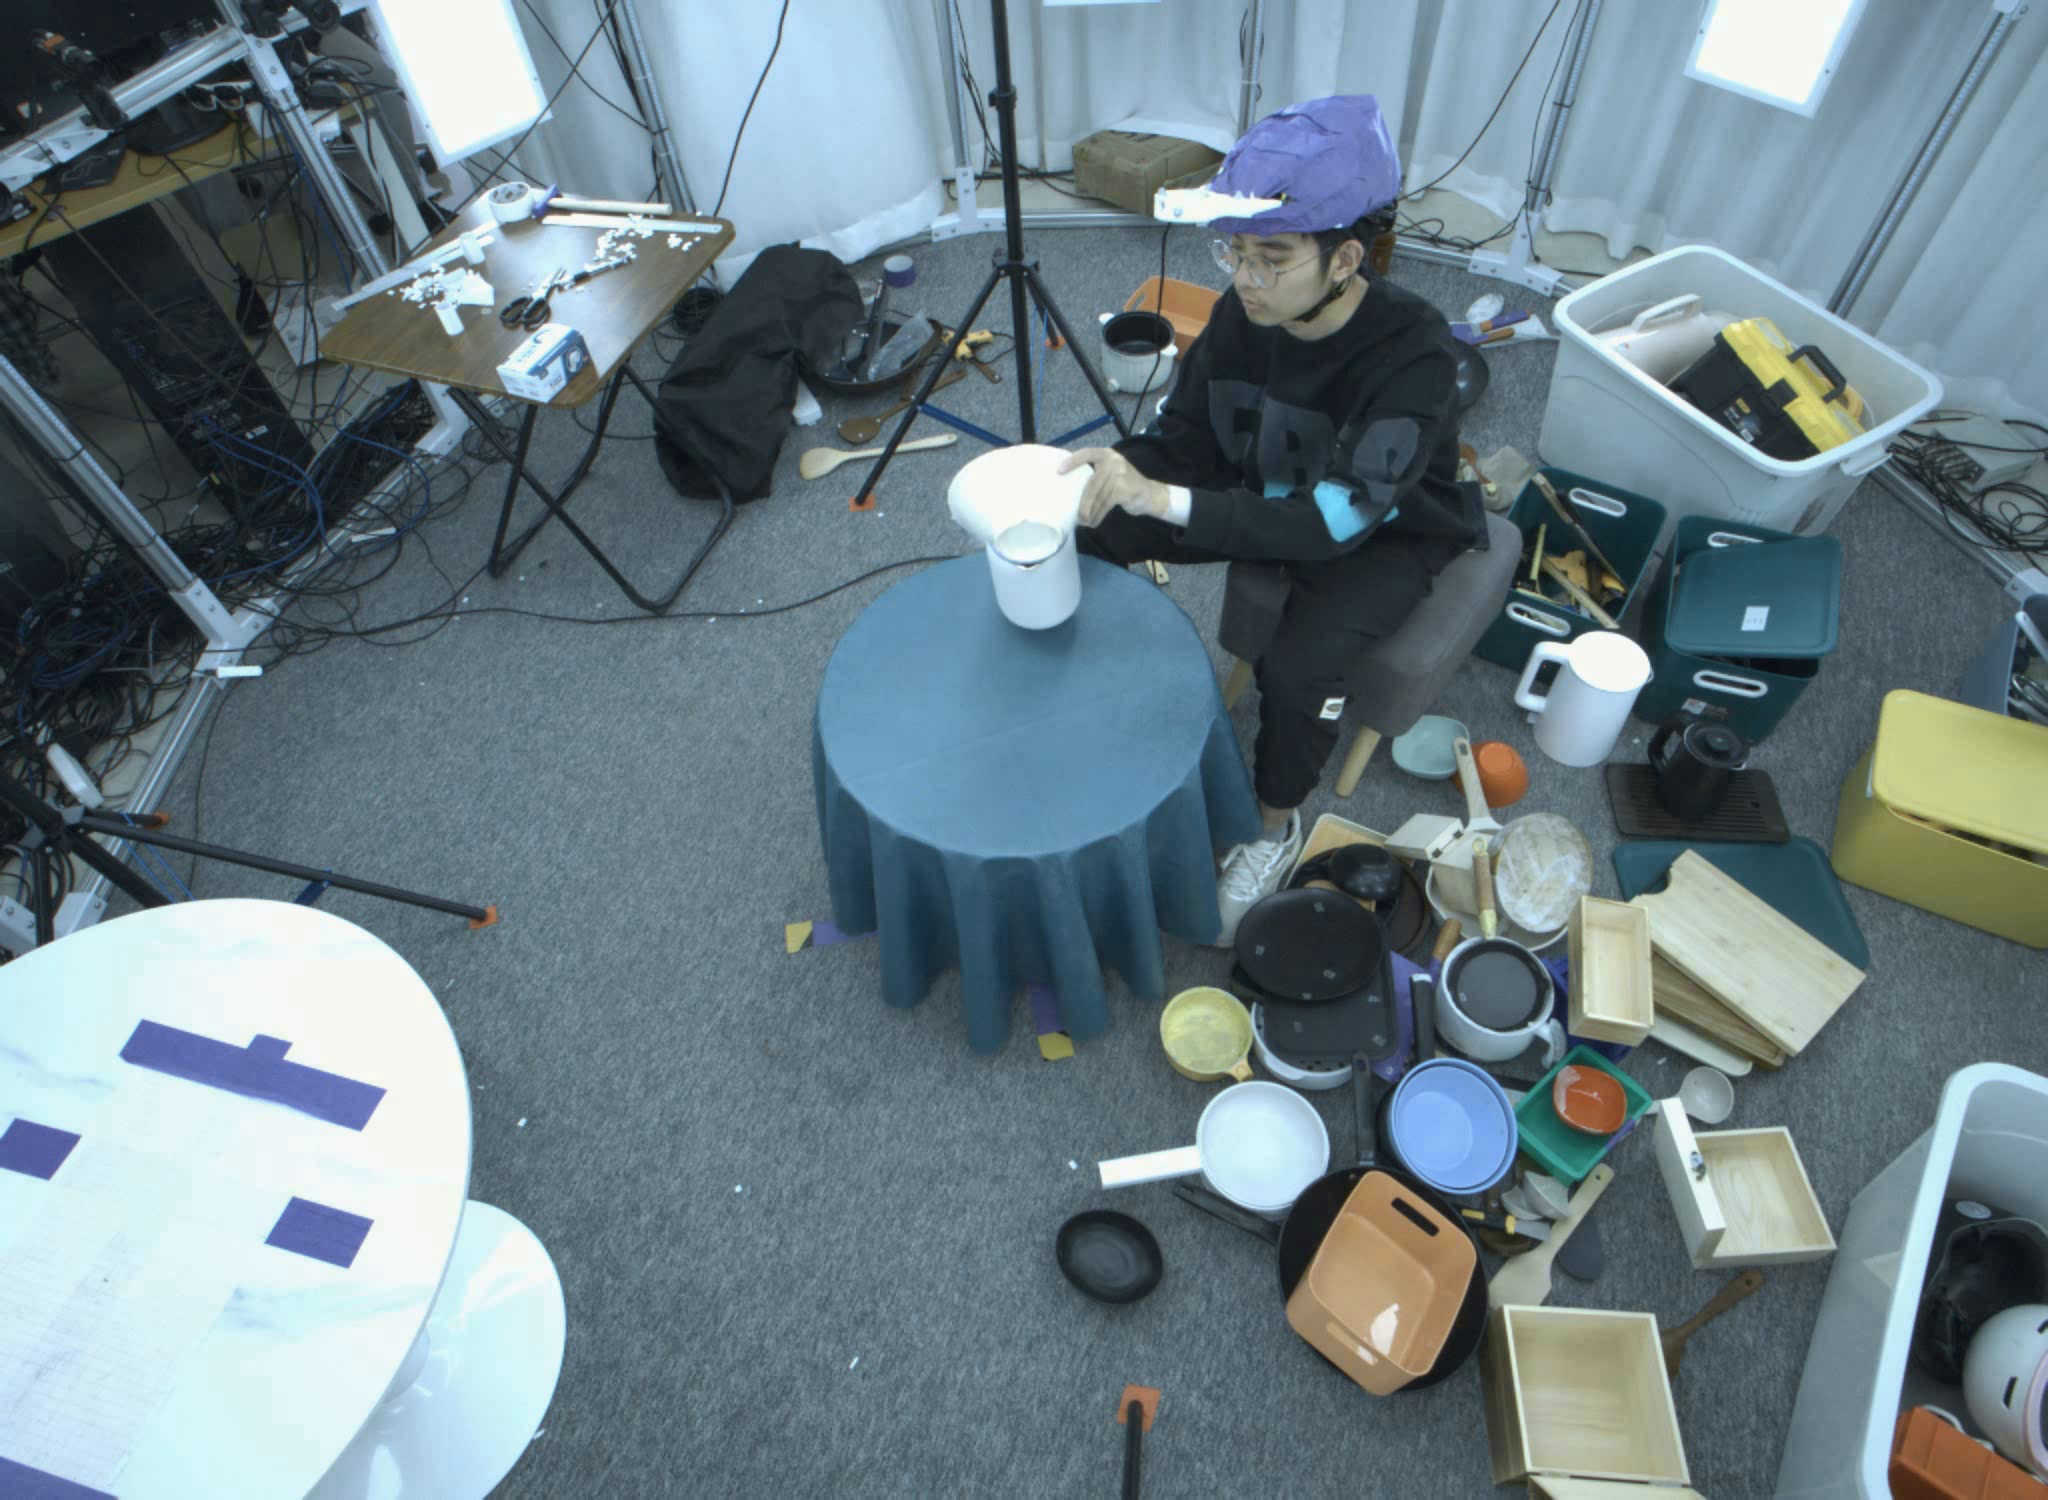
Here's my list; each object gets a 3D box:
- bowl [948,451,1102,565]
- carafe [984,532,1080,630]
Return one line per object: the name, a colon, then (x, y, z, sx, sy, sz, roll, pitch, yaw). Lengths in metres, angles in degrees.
bowl: (-0.001, -0.297, 1.594, 0.204, 0.206, 0.077, -1, 64, 2)
carafe: (0.011, -0.299, 1.841, 0.132, 0.184, 0.189, -5, 60, 3)
